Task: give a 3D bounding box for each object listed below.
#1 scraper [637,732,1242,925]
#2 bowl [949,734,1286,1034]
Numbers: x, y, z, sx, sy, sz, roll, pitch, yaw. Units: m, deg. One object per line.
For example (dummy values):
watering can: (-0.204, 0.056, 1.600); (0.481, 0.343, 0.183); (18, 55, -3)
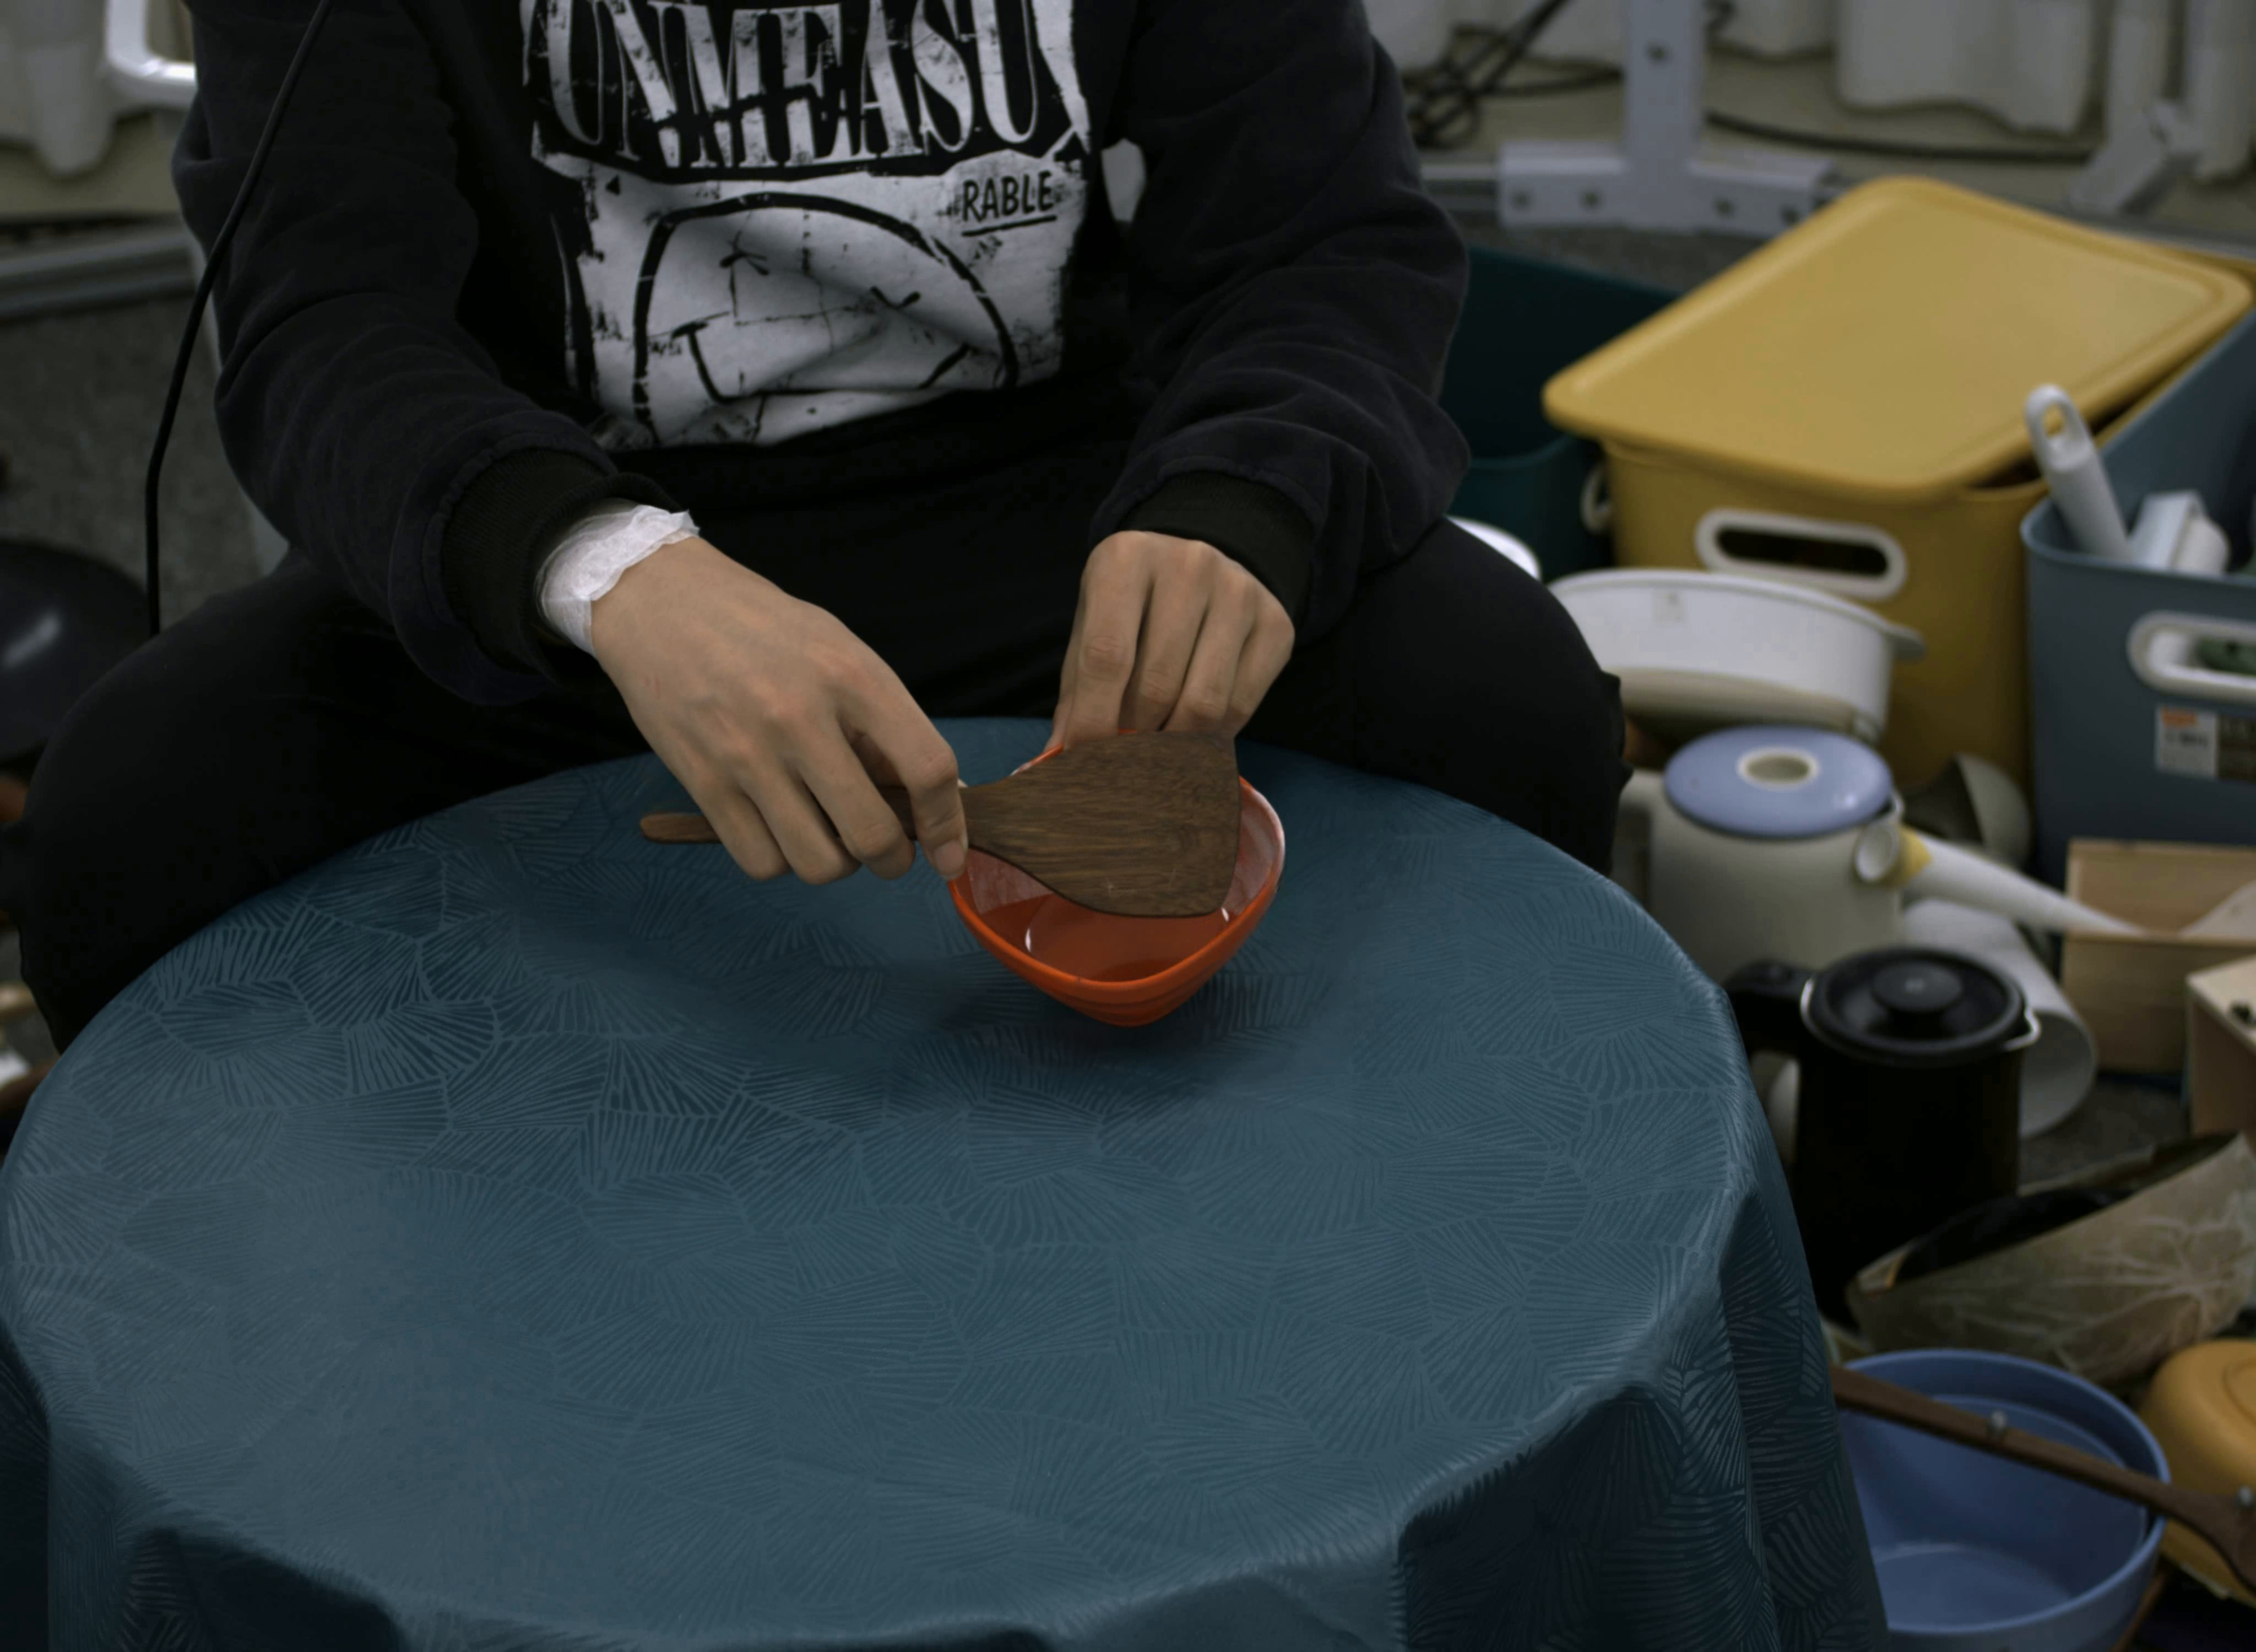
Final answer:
scraper: (-0.065, -0.002, 1.943); (0.210, 0.010, 0.077); (2, 59, 4)
bowl: (-0.001, 0.028, 1.967); (0.118, 0.050, 0.121); (-4, 48, 5)
